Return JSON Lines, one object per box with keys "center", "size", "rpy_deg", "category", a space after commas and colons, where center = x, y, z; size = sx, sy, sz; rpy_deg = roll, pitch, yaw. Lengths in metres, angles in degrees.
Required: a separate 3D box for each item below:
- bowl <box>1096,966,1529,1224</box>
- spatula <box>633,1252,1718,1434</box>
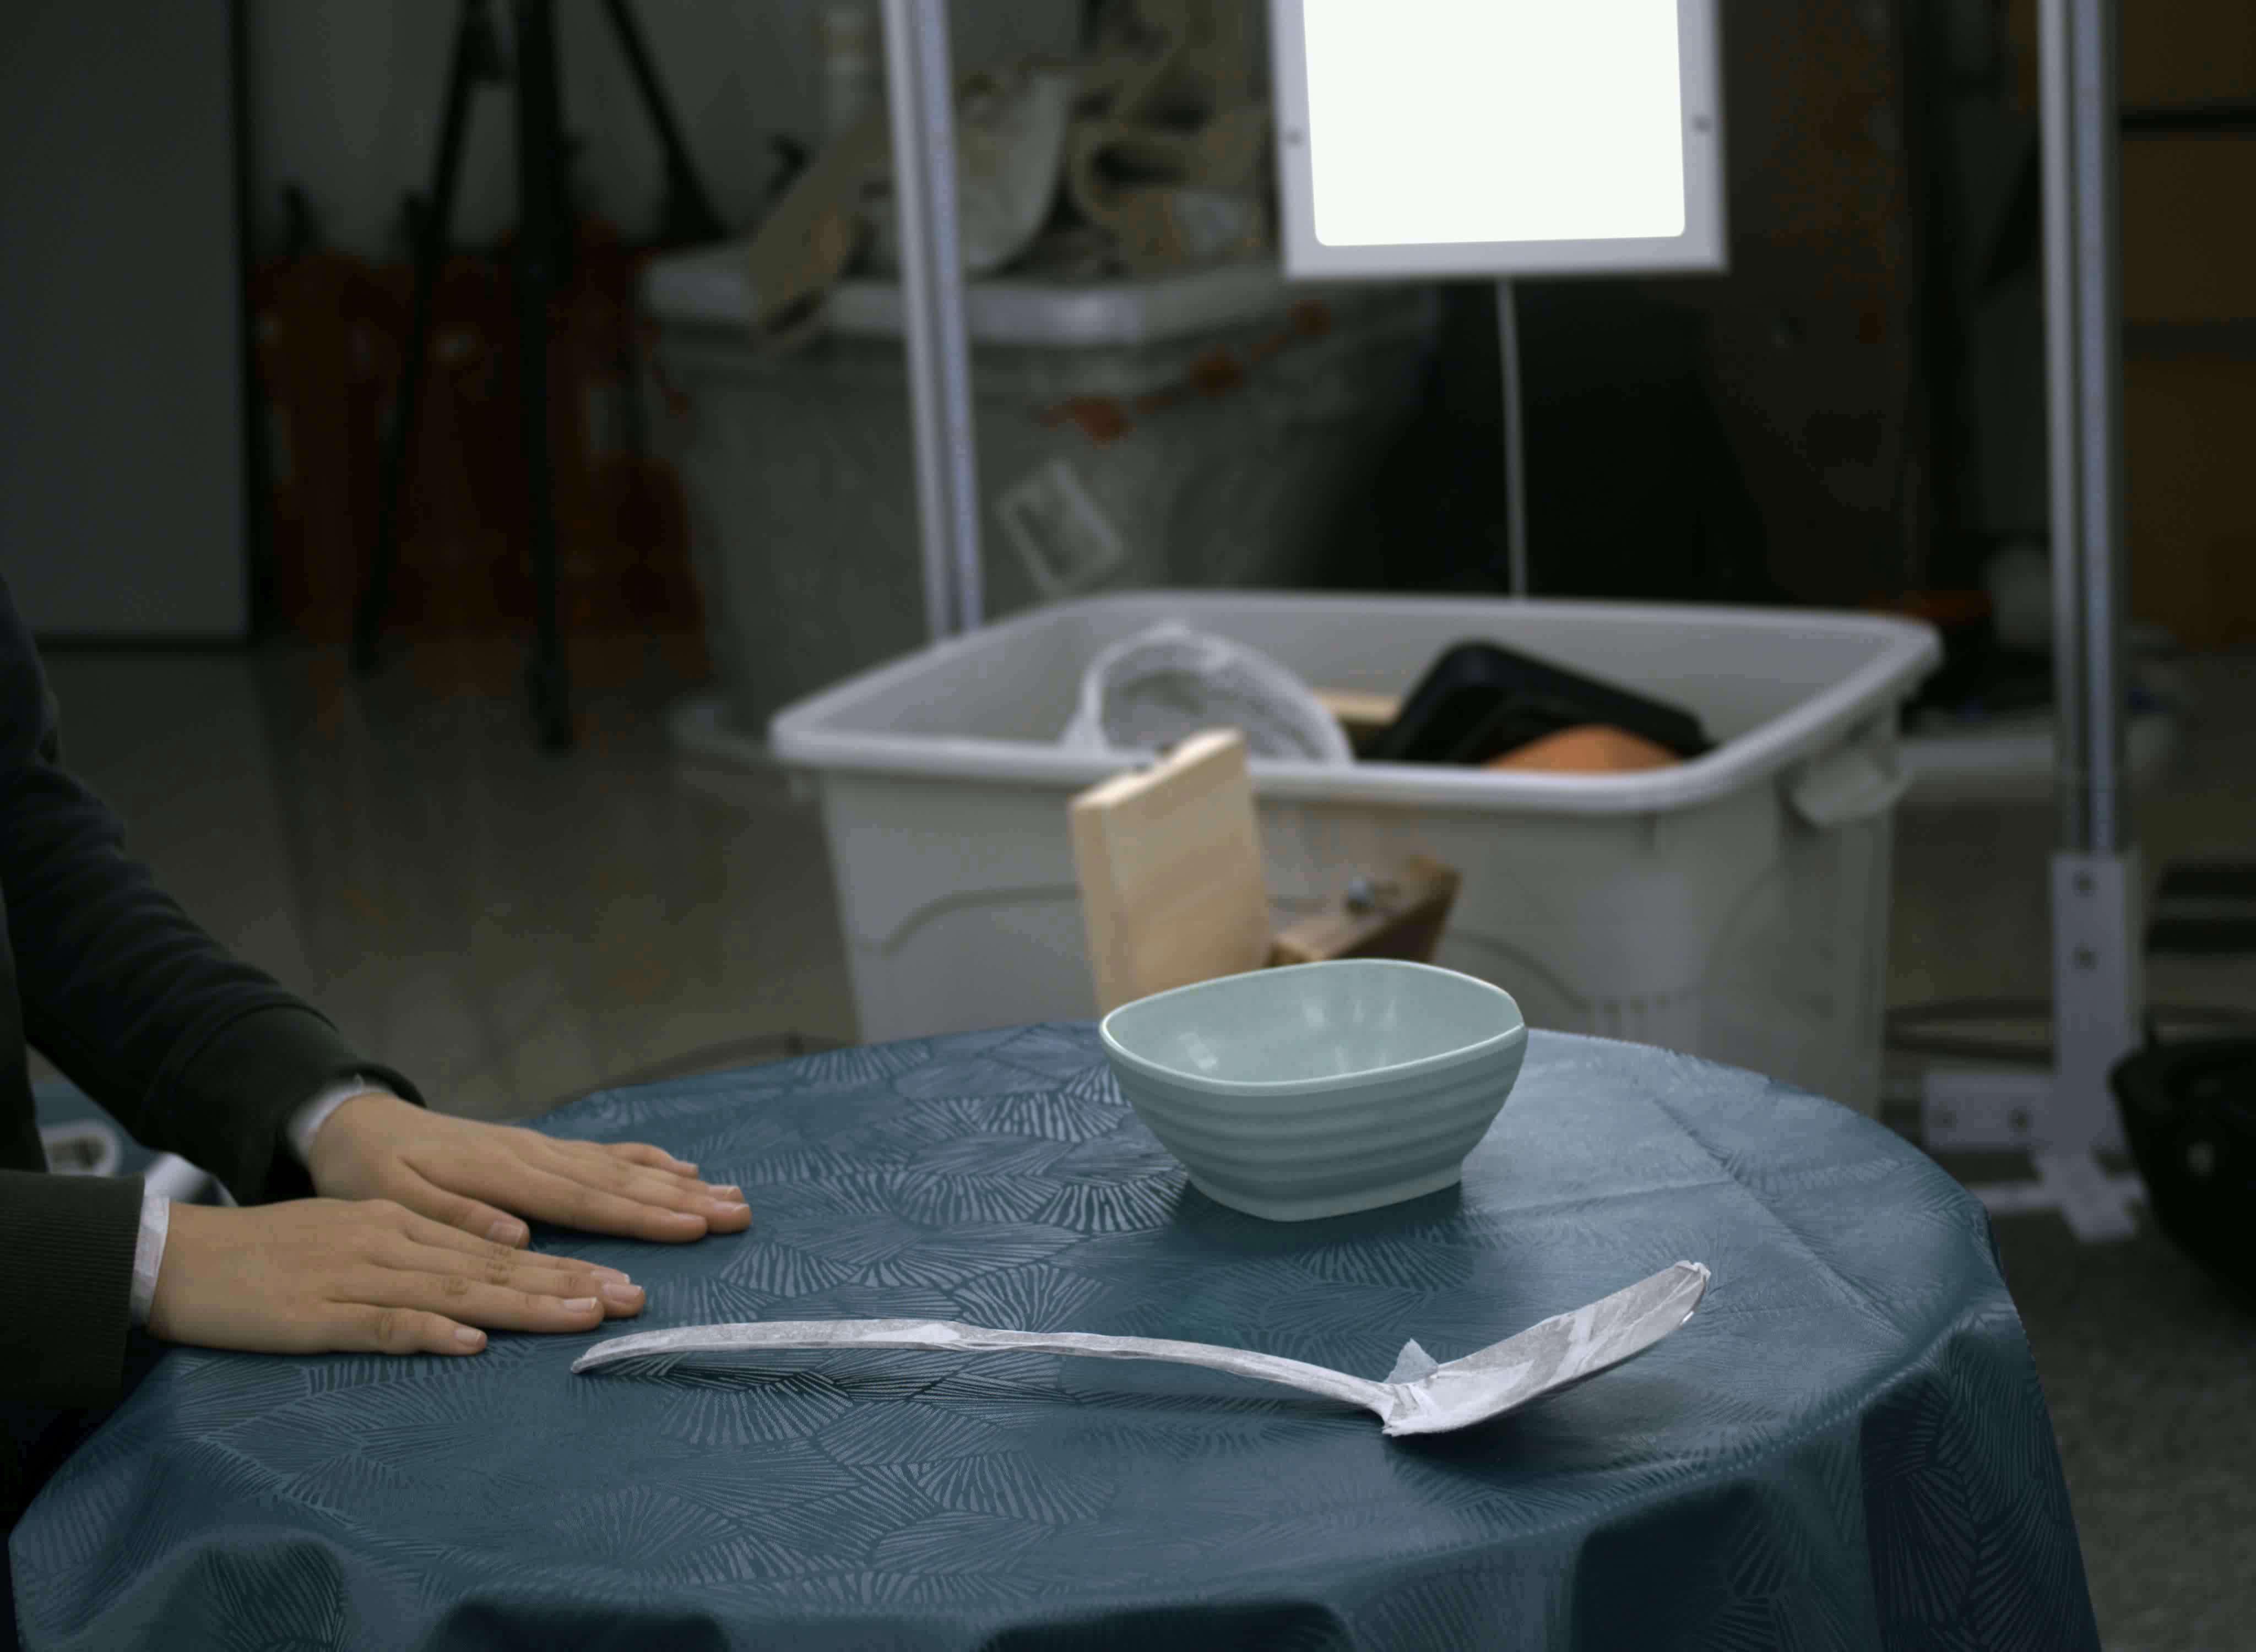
{"center": [0.064, 0.095, 1.888], "size": [0.151, 0.059, 0.151], "rpy_deg": [-2, 14, -1], "category": "bowl"}
{"center": [0.003, 0.156, 1.695], "size": [0.370, 0.045, 0.097], "rpy_deg": [1, 17, 24], "category": "spatula"}
